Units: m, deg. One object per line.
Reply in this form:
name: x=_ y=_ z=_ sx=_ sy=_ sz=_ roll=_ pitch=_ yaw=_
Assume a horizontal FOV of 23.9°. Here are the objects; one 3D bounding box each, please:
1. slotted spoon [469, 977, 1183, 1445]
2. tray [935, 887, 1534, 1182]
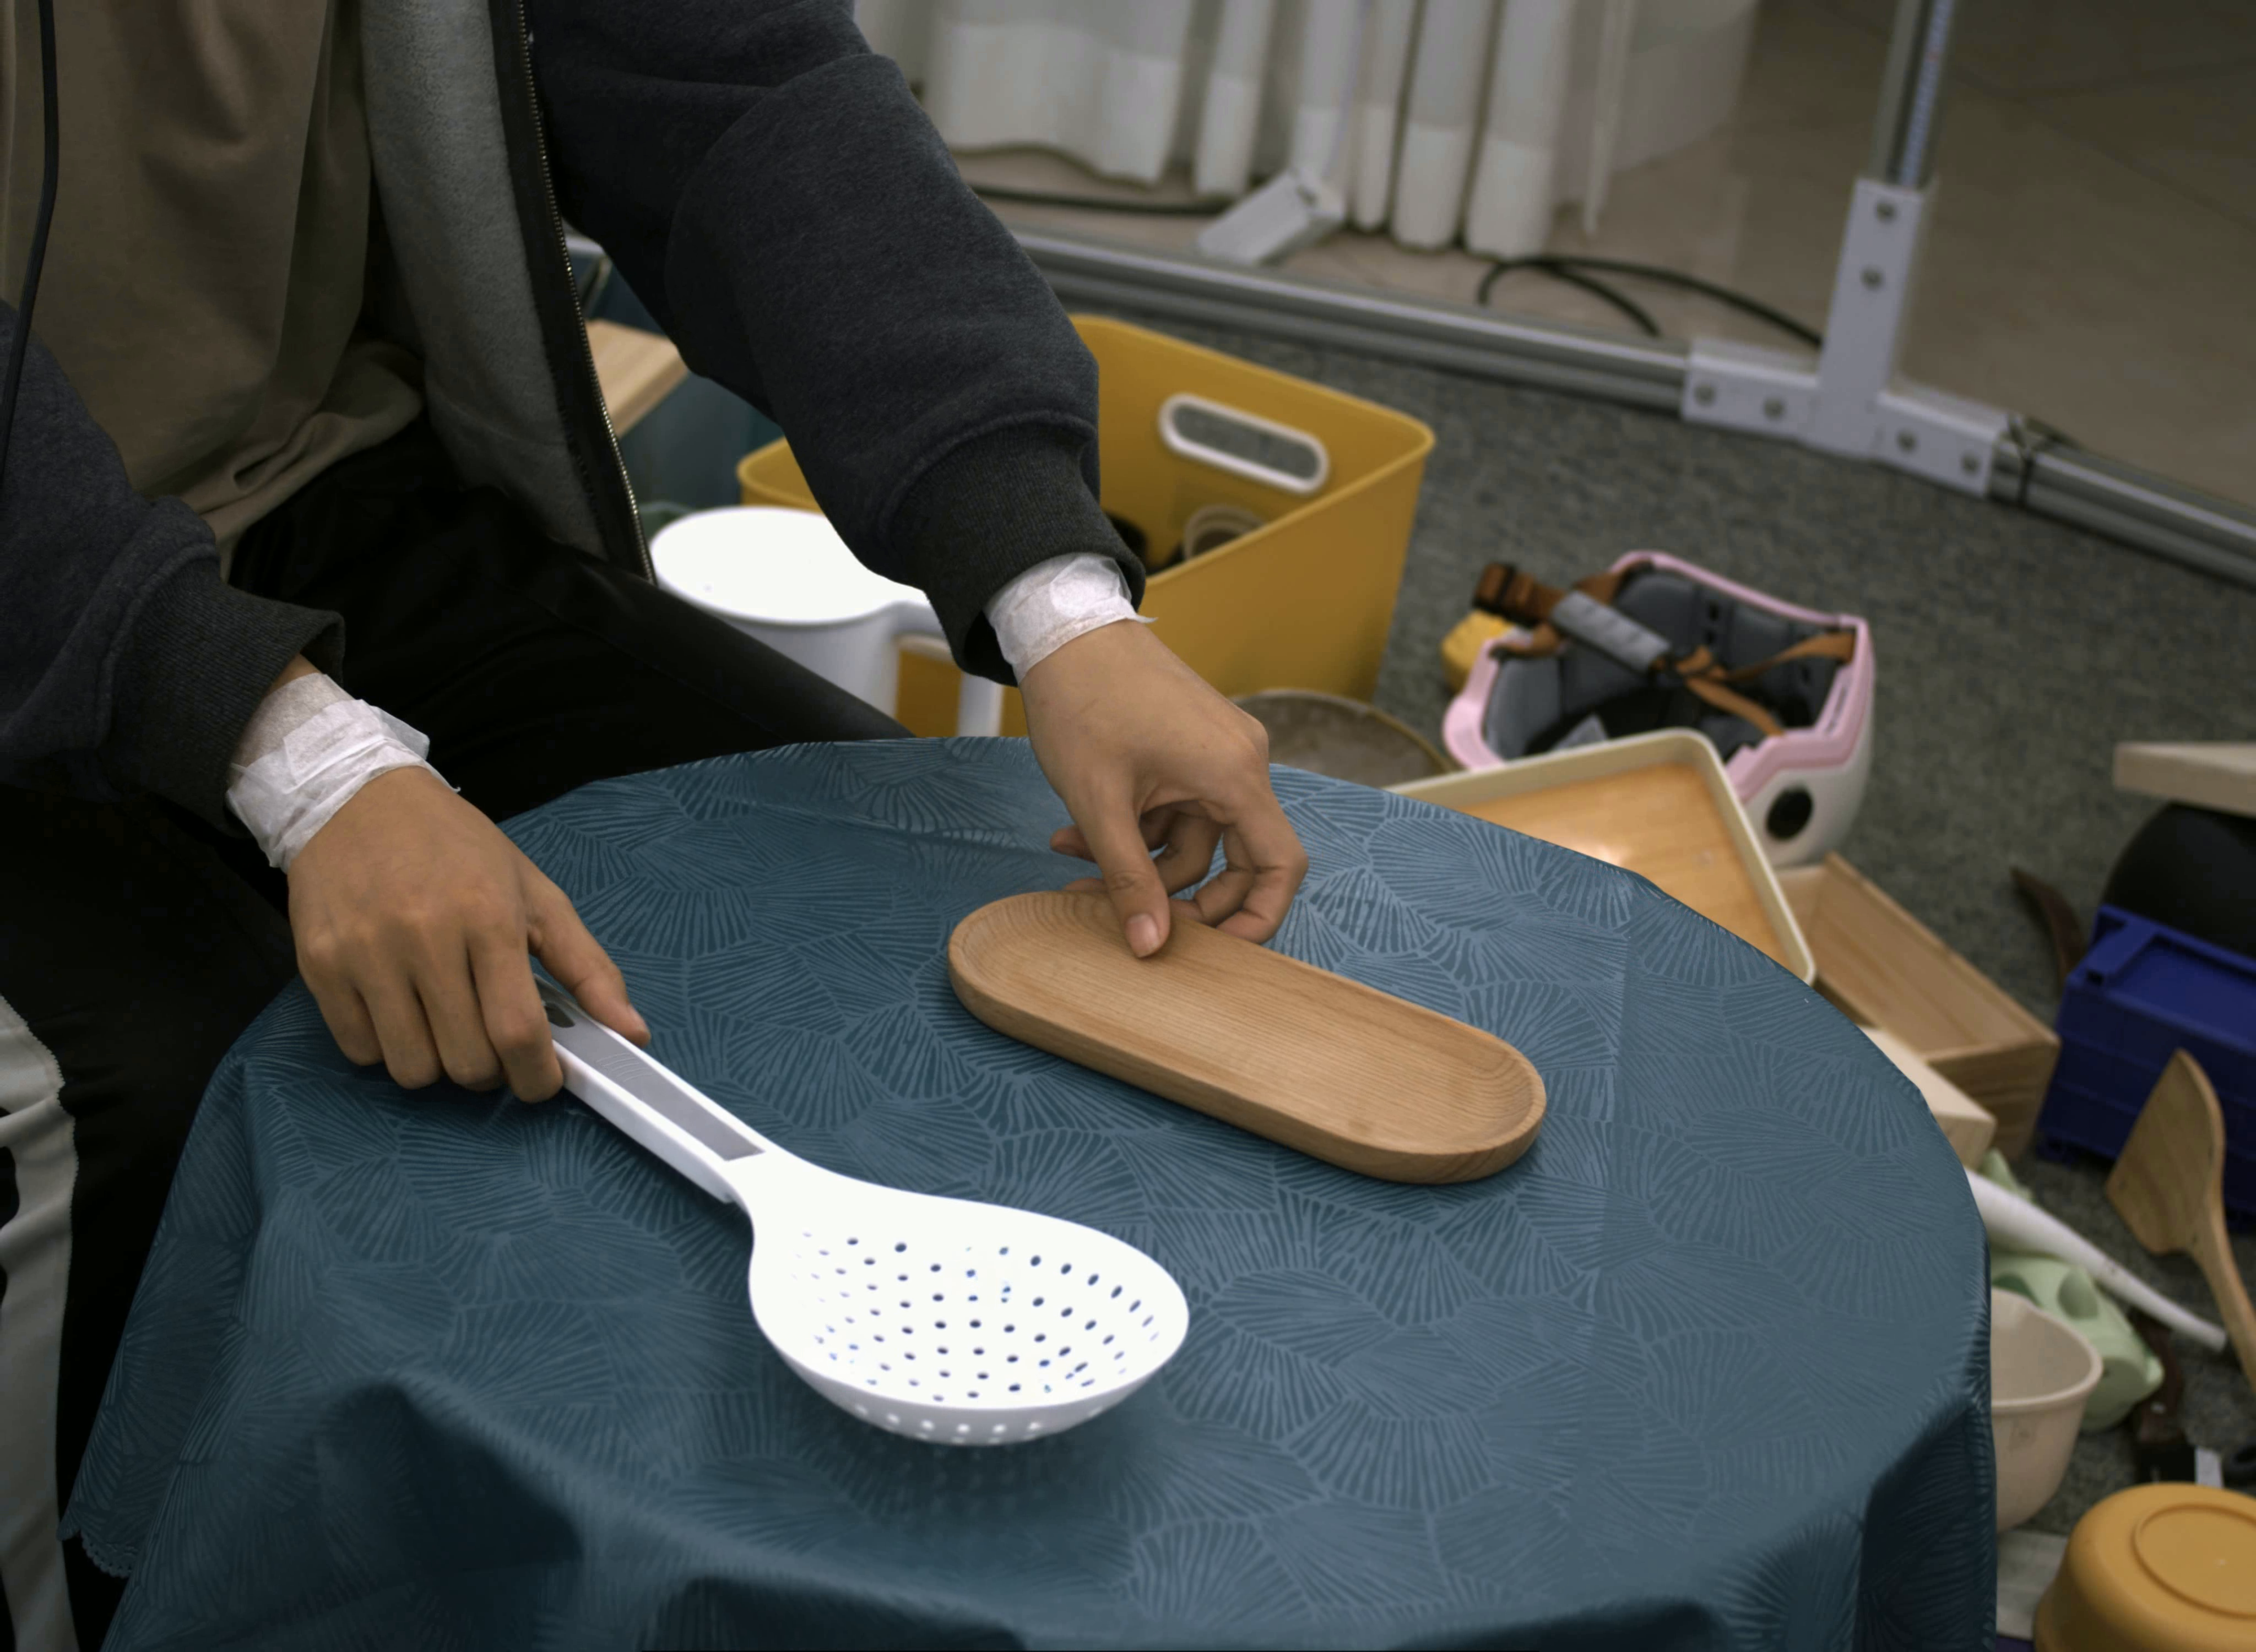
slotted spoon: x=-0.116 y=0.119 z=1.734 sx=0.135 sy=0.045 sz=0.353 roll=-11 pitch=31 yaw=-36
tray: x=0.036 y=0.073 z=1.890 sx=0.232 sy=0.020 sz=0.101 roll=19 pitch=29 yaw=26
